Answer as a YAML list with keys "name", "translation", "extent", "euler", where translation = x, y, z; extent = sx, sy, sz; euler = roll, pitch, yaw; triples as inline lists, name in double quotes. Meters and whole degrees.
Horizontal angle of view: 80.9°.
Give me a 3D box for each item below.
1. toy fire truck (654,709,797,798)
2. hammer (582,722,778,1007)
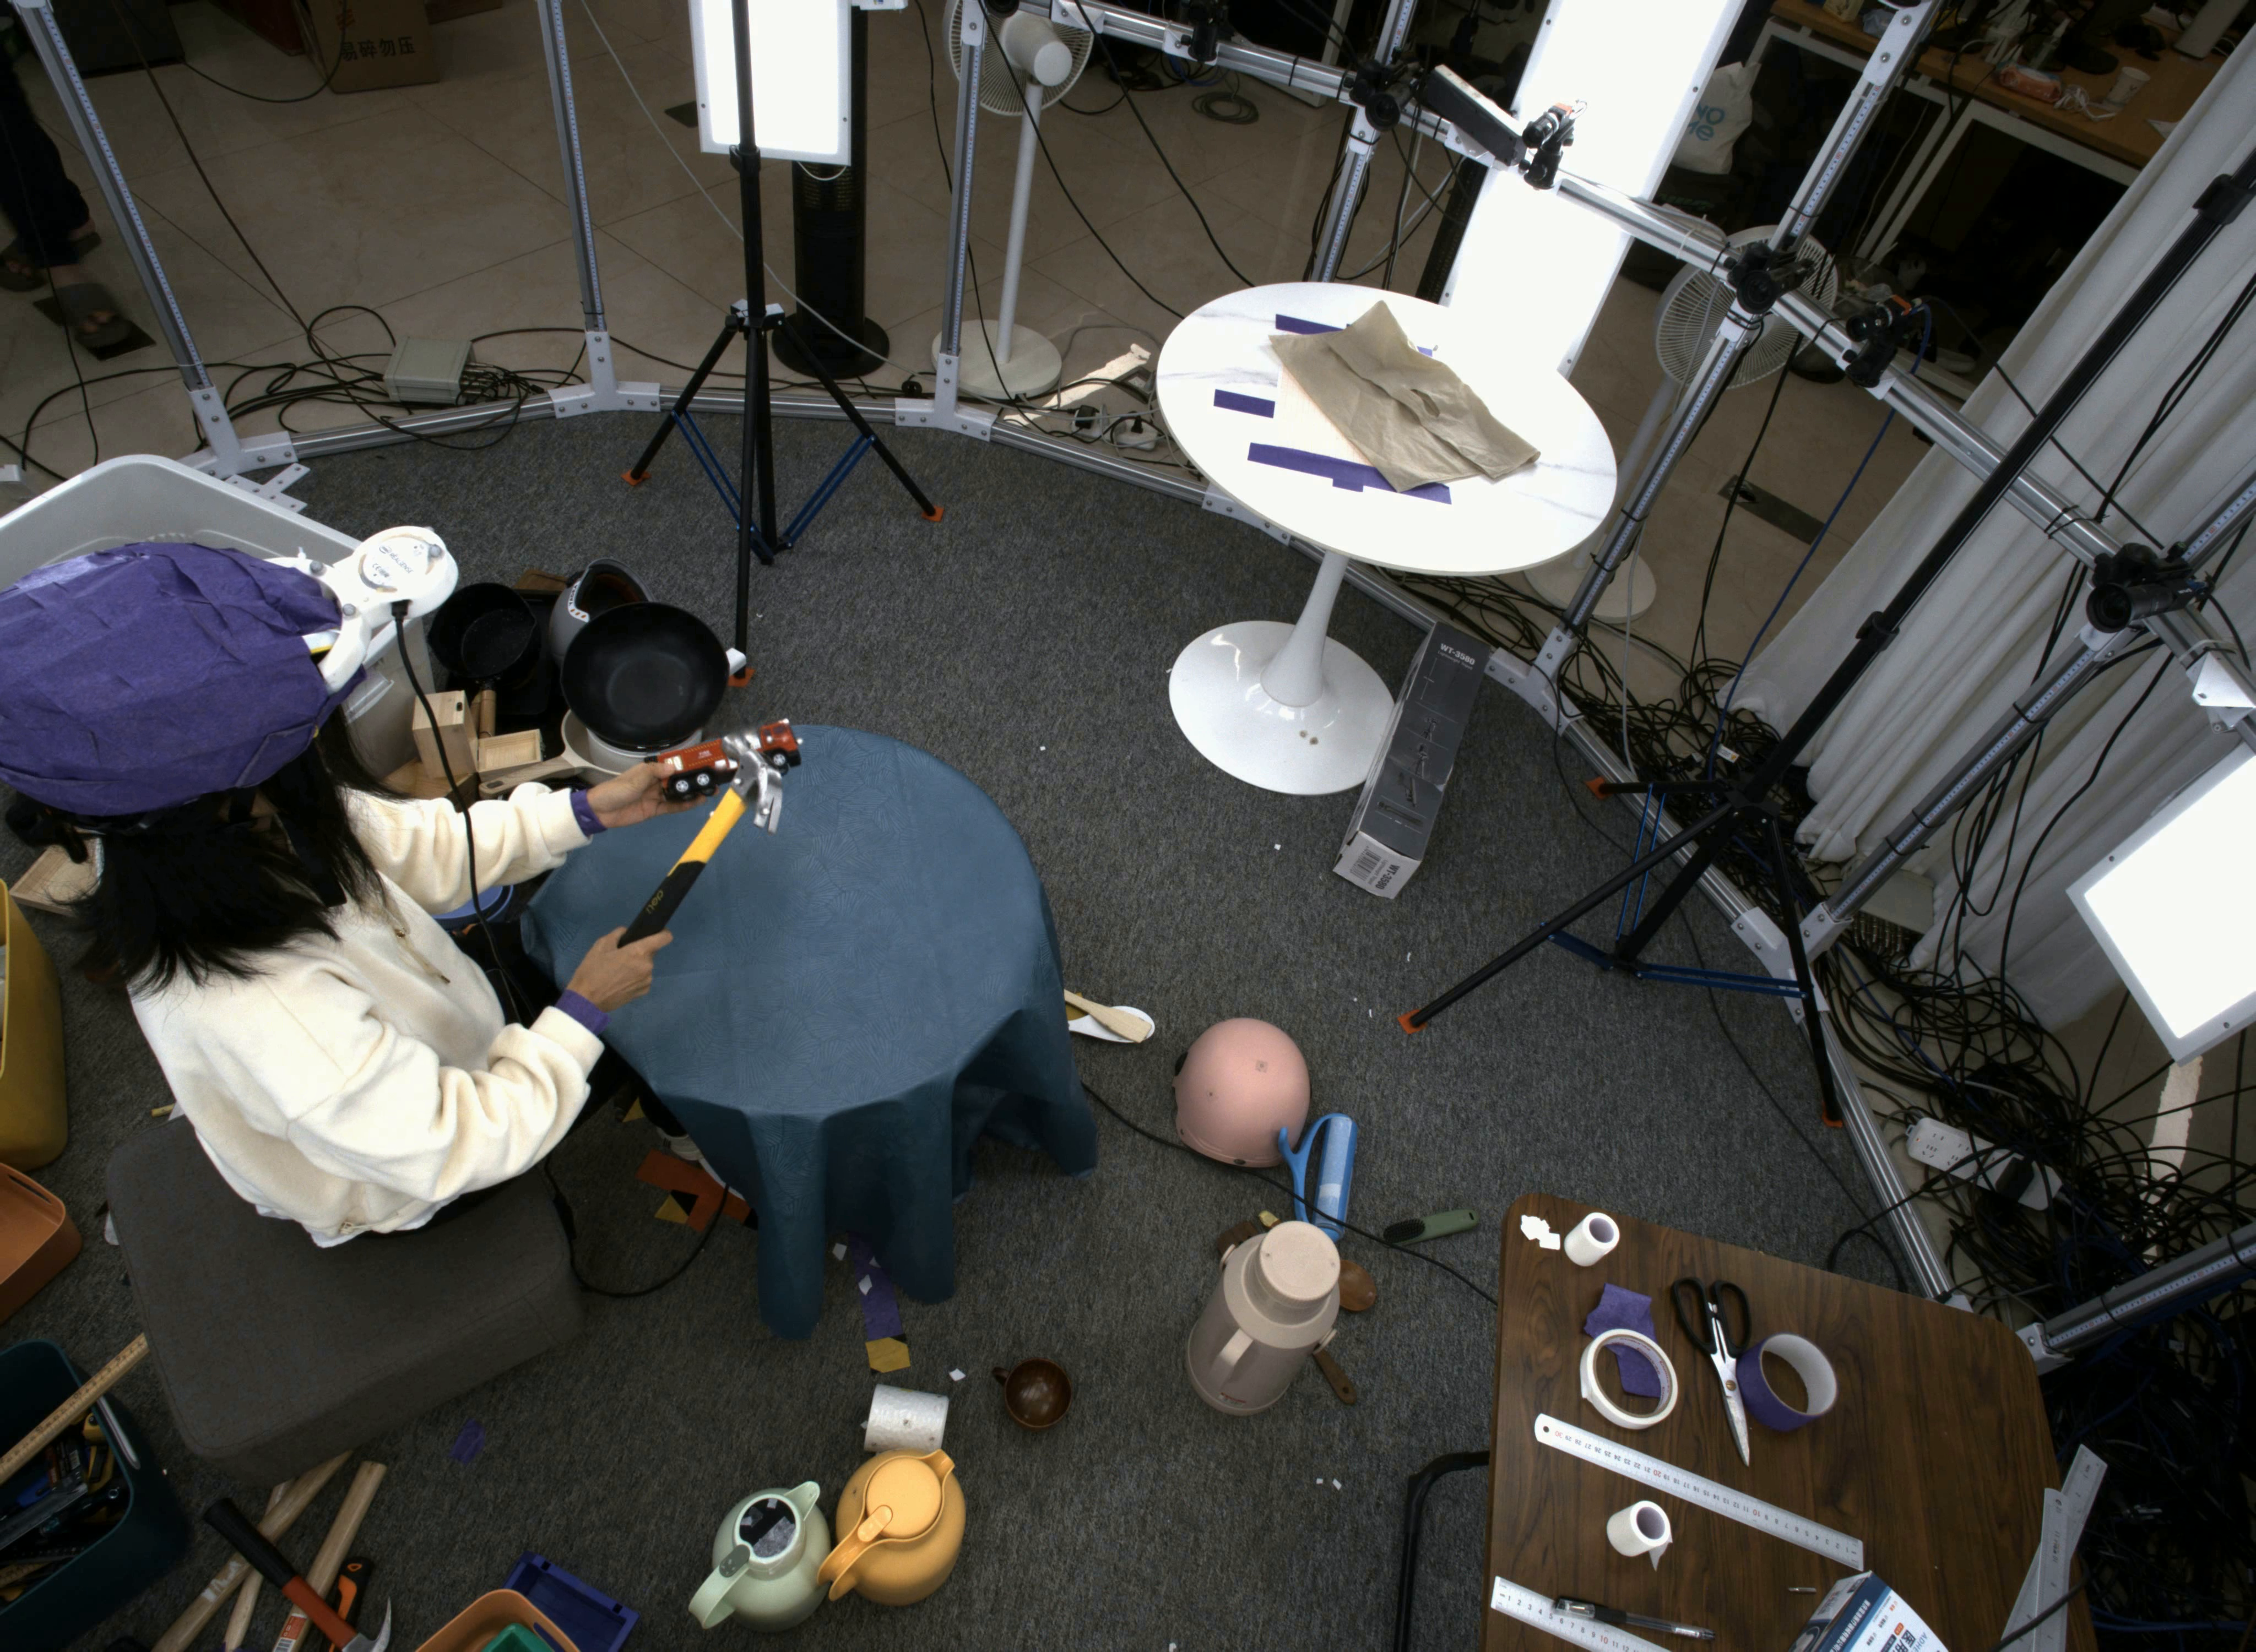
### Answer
- name: "toy fire truck"
  translation: [-0.474, -0.084, 1.516]
  extent: [0.168, 0.054, 0.070]
  euler: [-19, 80, -18]
- name: "hammer"
  translation: [-0.498, 0.053, 1.404]
  extent: [0.127, 0.033, 0.339]
  euler: [39, 93, 33]
